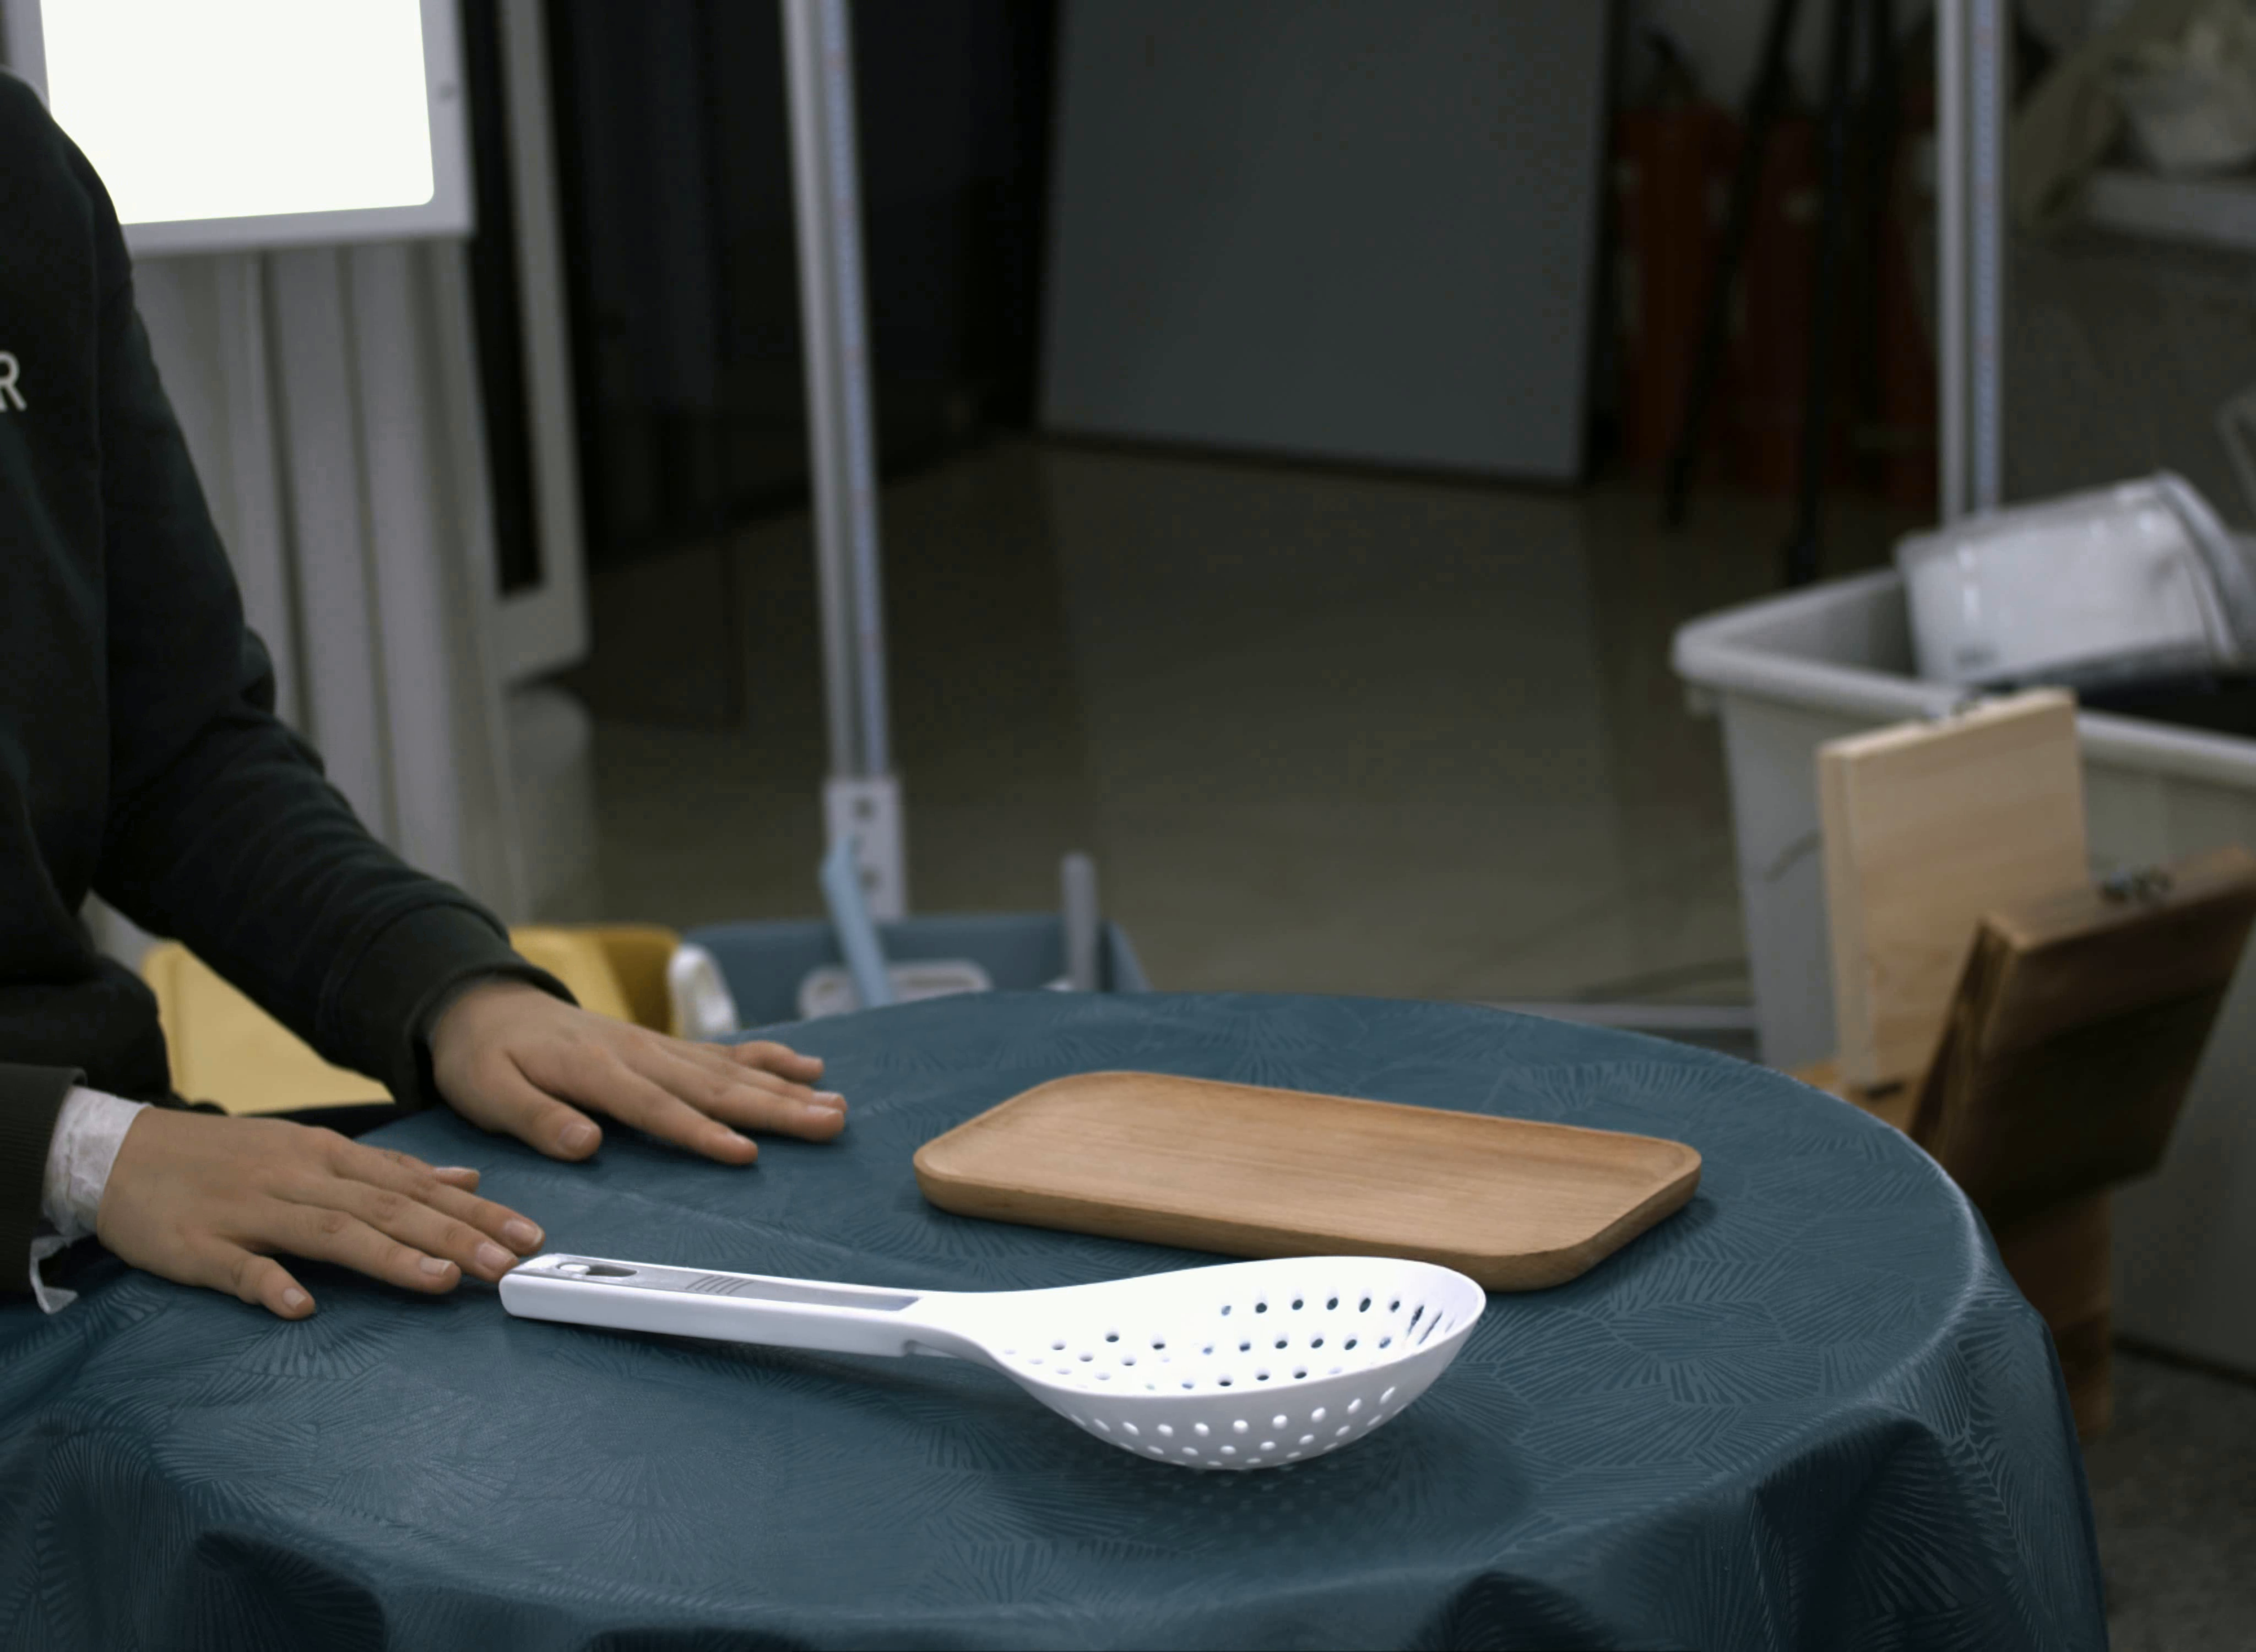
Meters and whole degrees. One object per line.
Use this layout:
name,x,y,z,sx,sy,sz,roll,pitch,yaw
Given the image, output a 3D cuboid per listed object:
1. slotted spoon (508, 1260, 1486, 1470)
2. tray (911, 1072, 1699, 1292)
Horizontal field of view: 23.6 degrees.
slotted spoon,-0.050,0.147,1.587,0.352,0.046,0.133,6,15,37
tray,0.056,0.114,1.749,0.252,0.023,0.128,4,14,34
